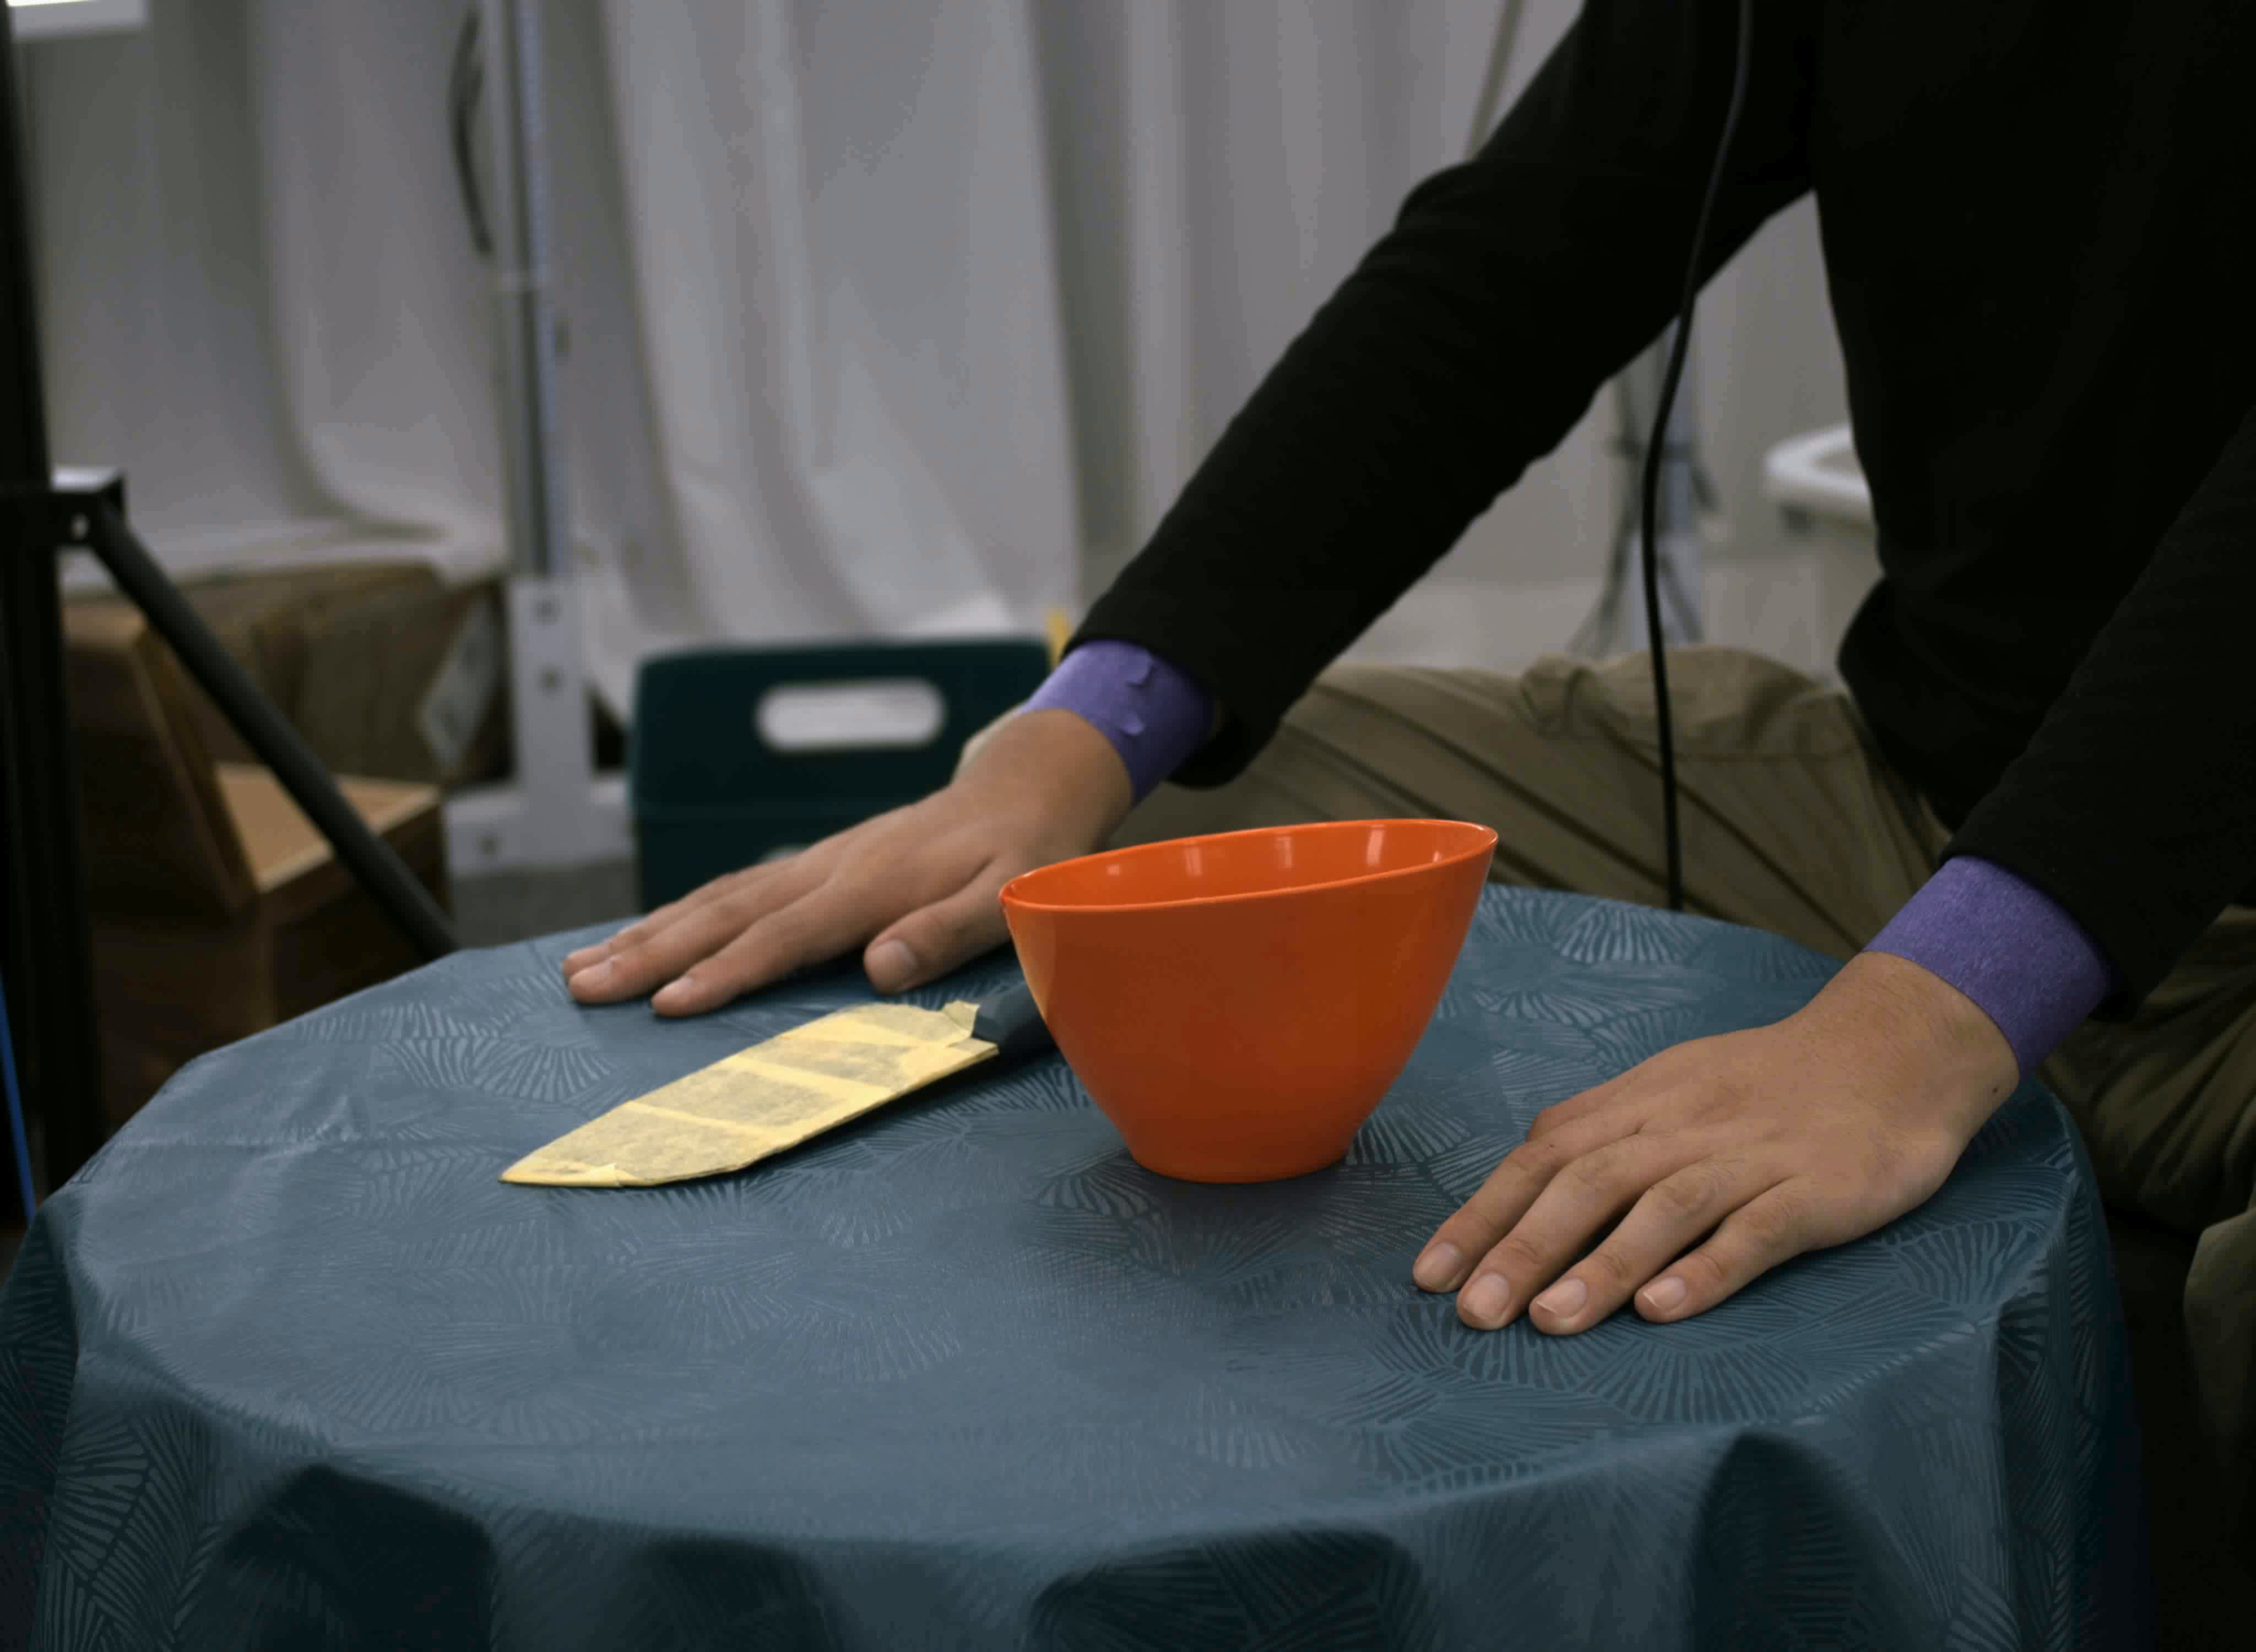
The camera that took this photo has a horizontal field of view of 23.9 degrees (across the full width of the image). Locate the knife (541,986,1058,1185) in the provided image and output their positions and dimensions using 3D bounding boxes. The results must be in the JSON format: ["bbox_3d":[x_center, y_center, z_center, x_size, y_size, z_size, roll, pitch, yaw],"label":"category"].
[{"bbox_3d":[-0.072,0.070,1.675,0.083,0.027,0.283,15,24,43],"label":"knife"}]

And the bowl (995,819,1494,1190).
[{"bbox_3d":[0.036,0.051,1.566,0.147,0.104,0.149,-4,15,0],"label":"bowl"}]
